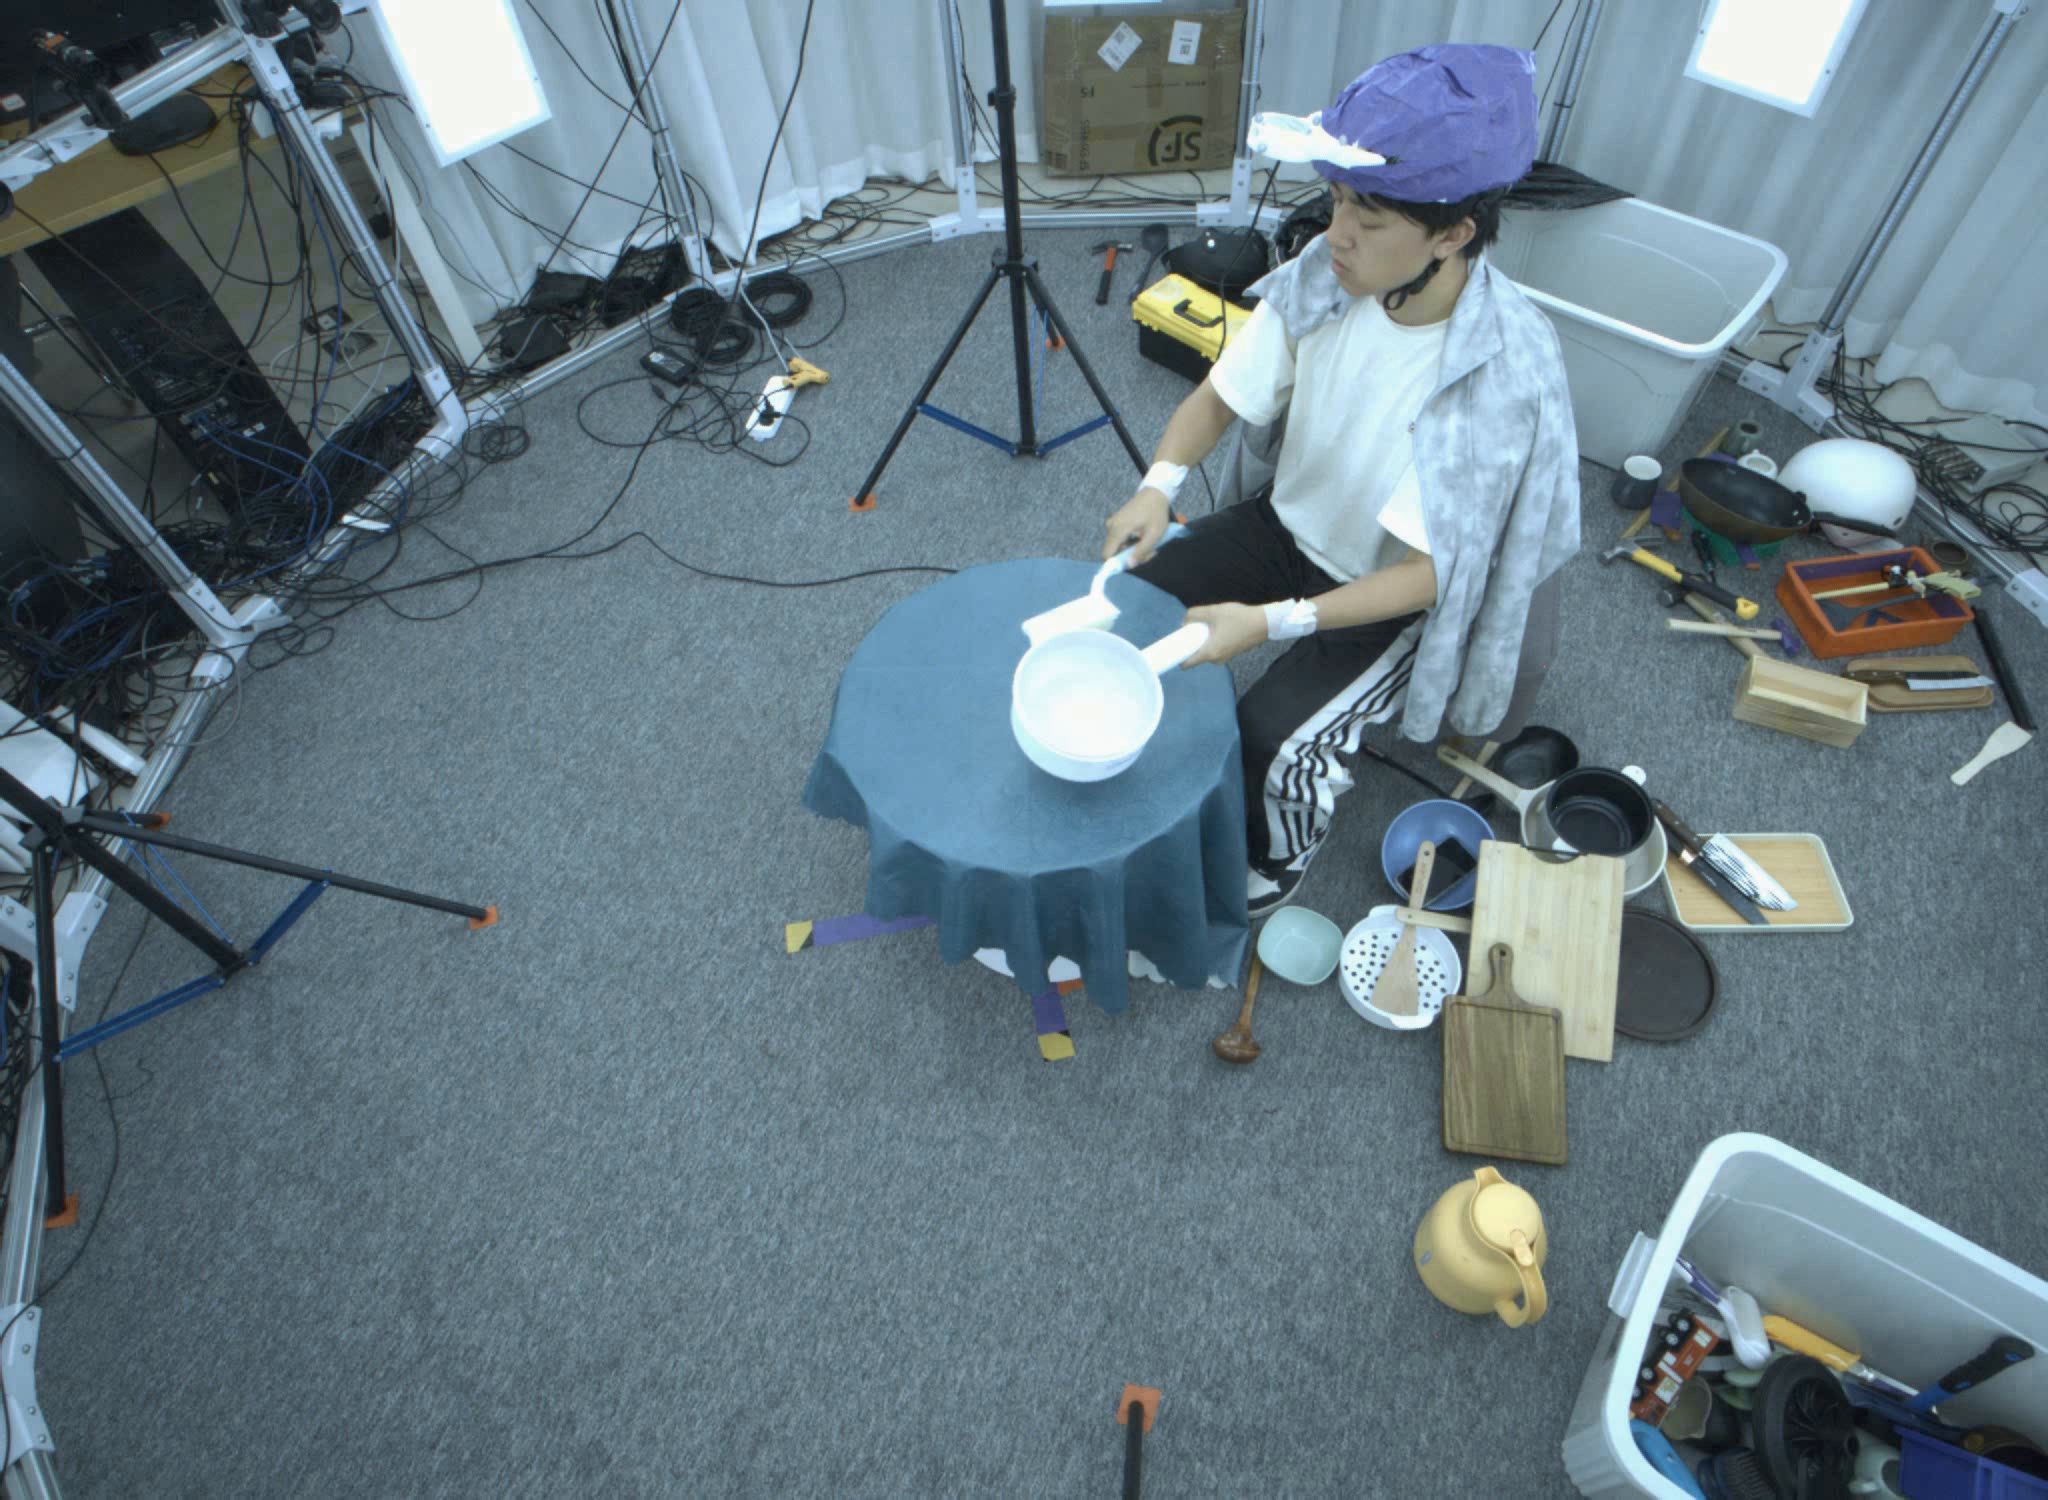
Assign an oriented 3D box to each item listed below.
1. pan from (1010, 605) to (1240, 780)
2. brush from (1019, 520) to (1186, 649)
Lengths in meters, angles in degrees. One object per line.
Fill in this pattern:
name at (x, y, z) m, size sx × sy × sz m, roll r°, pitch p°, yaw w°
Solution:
pan at (0.142, -0.093, 1.706) m, size 0.358 × 0.102 × 0.199 m, roll -30°, pitch 72°, yaw -21°
brush at (0.135, -0.230, 1.749) m, size 0.328 × 0.085 × 0.081 m, roll -35°, pitch 24°, yaw -26°
